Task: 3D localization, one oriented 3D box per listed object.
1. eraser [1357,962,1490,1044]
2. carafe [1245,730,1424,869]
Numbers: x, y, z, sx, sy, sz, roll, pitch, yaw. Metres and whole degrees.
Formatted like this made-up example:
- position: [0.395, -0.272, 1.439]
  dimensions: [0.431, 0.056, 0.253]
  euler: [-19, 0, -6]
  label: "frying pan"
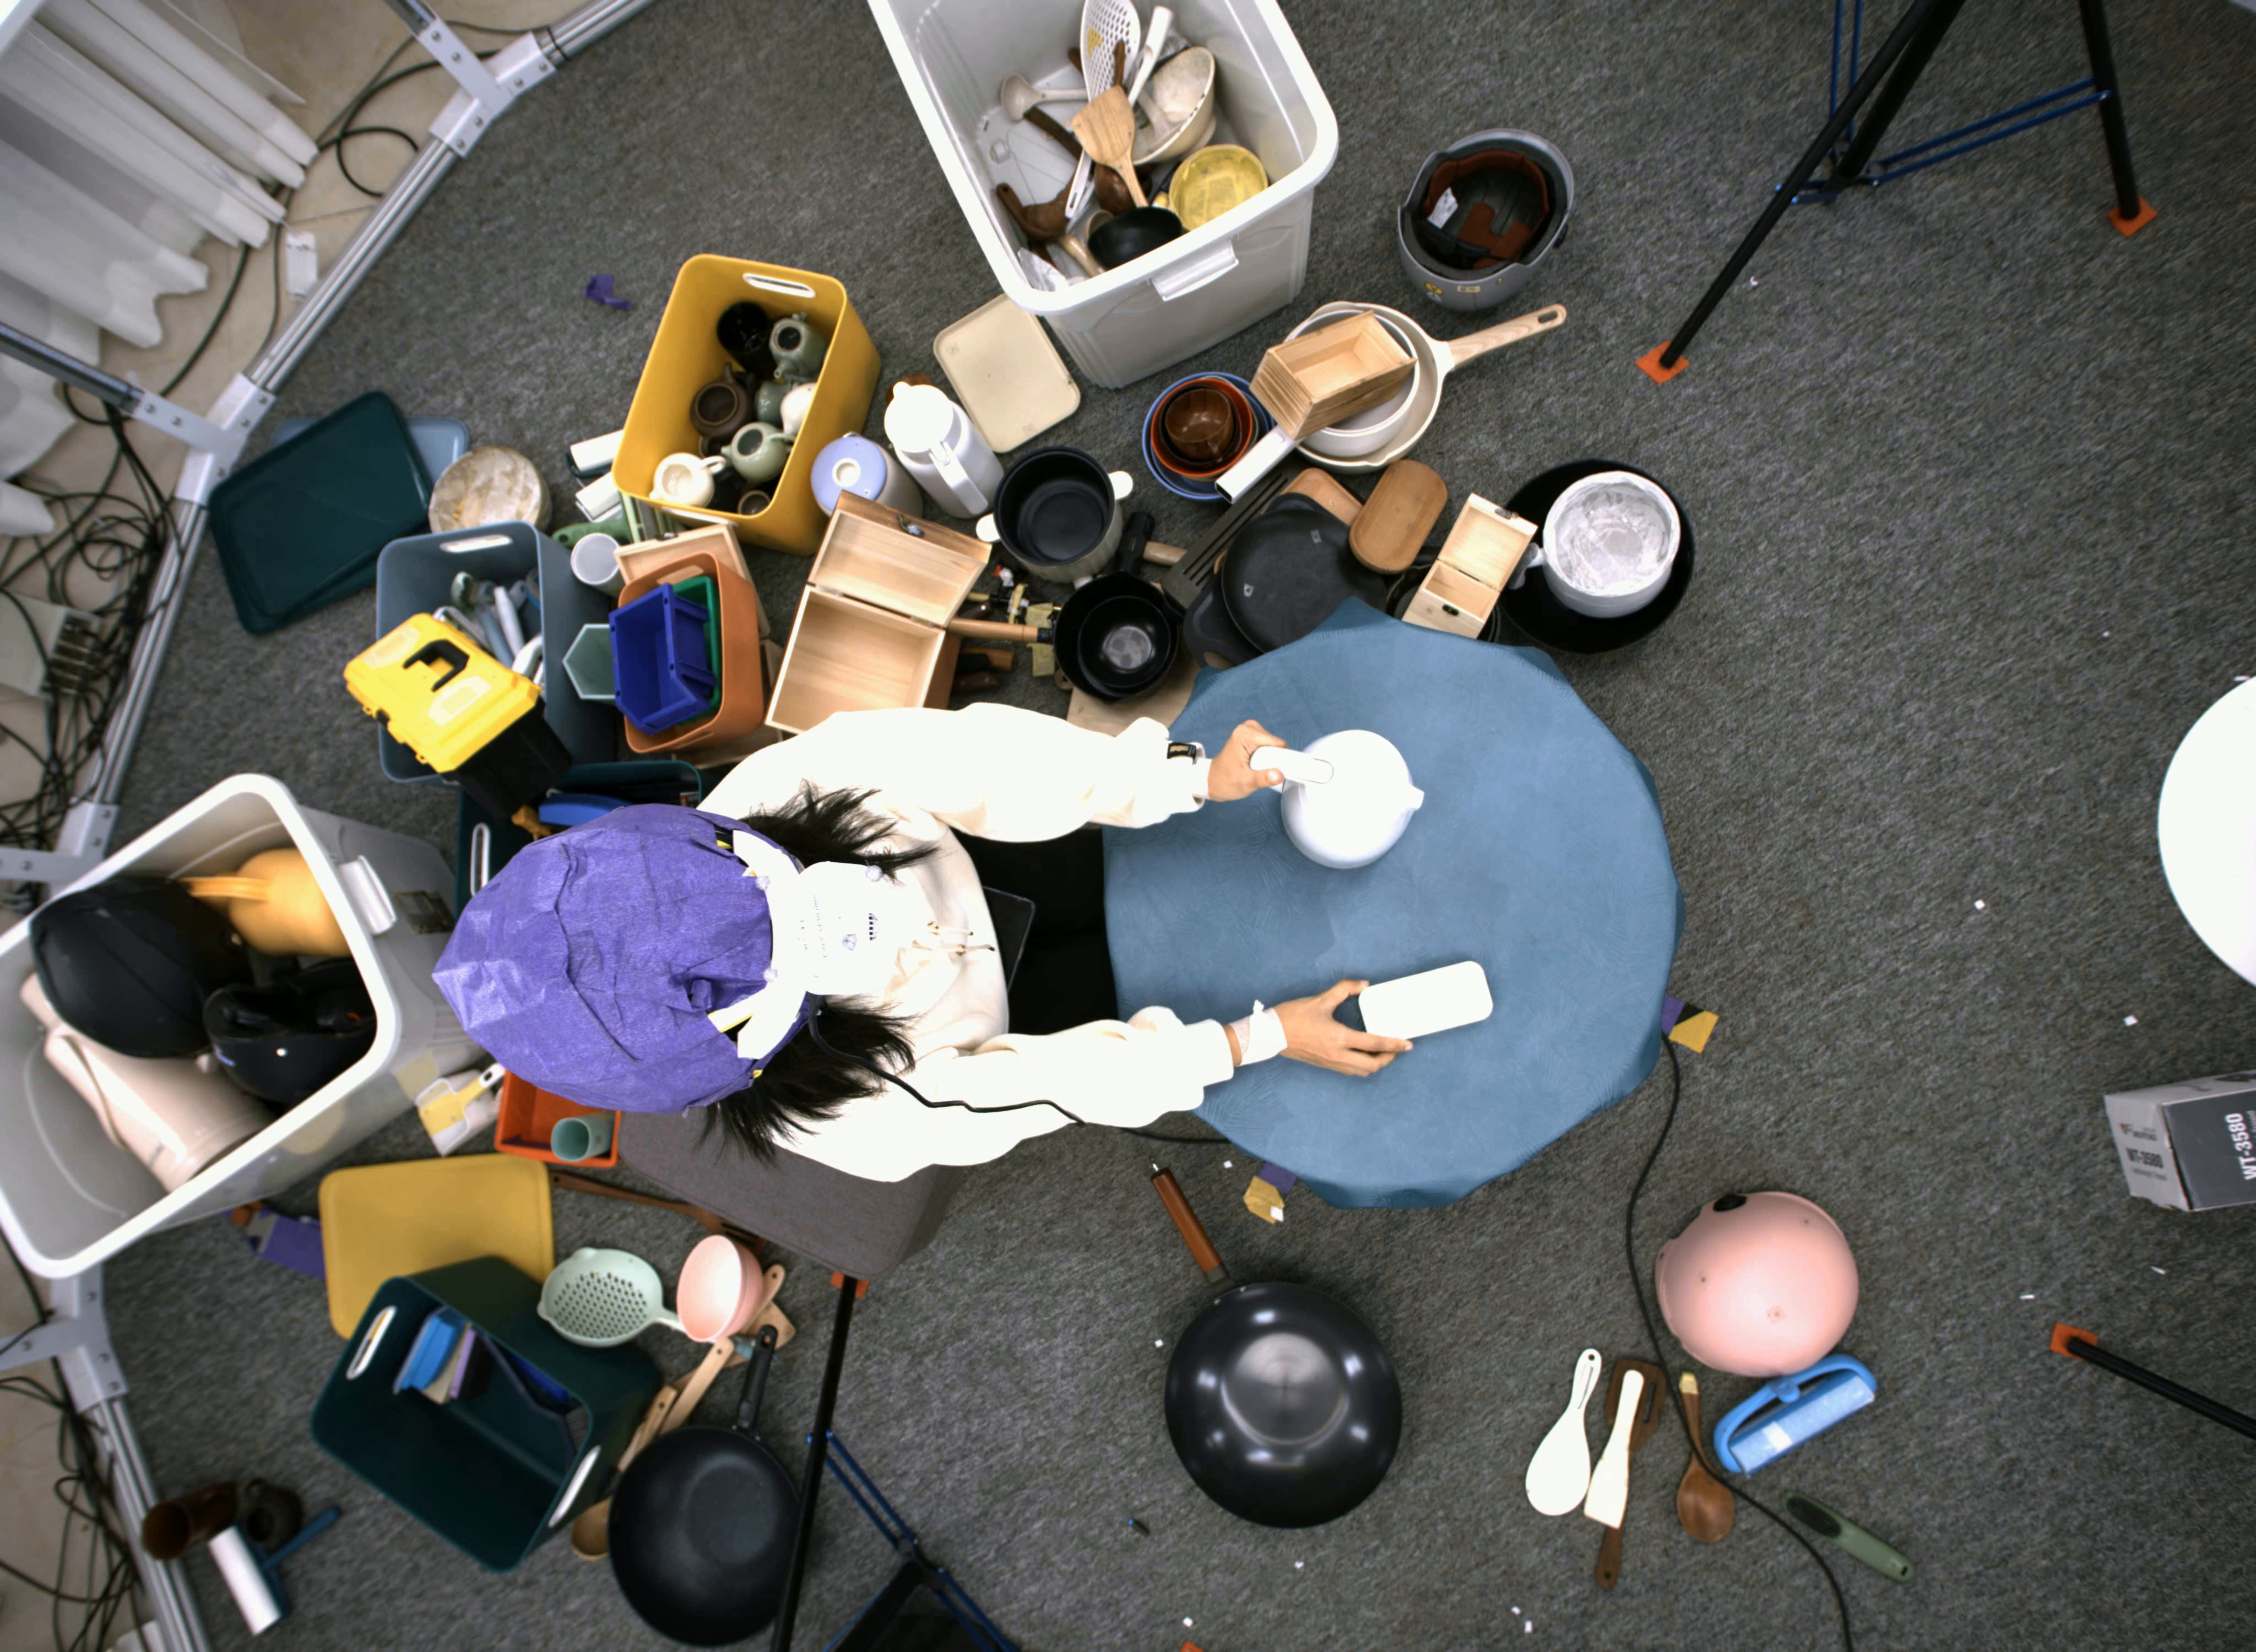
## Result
- position: [0.306, 0.181, 1.432]
  dimensions: [0.132, 0.034, 0.063]
  euler: [-15, 81, 9]
  label: "eraser"
- position: [0.197, -0.036, 1.348]
  dimensions: [0.168, 0.249, 0.132]
  euler: [16, 88, 8]
  label: "carafe"
